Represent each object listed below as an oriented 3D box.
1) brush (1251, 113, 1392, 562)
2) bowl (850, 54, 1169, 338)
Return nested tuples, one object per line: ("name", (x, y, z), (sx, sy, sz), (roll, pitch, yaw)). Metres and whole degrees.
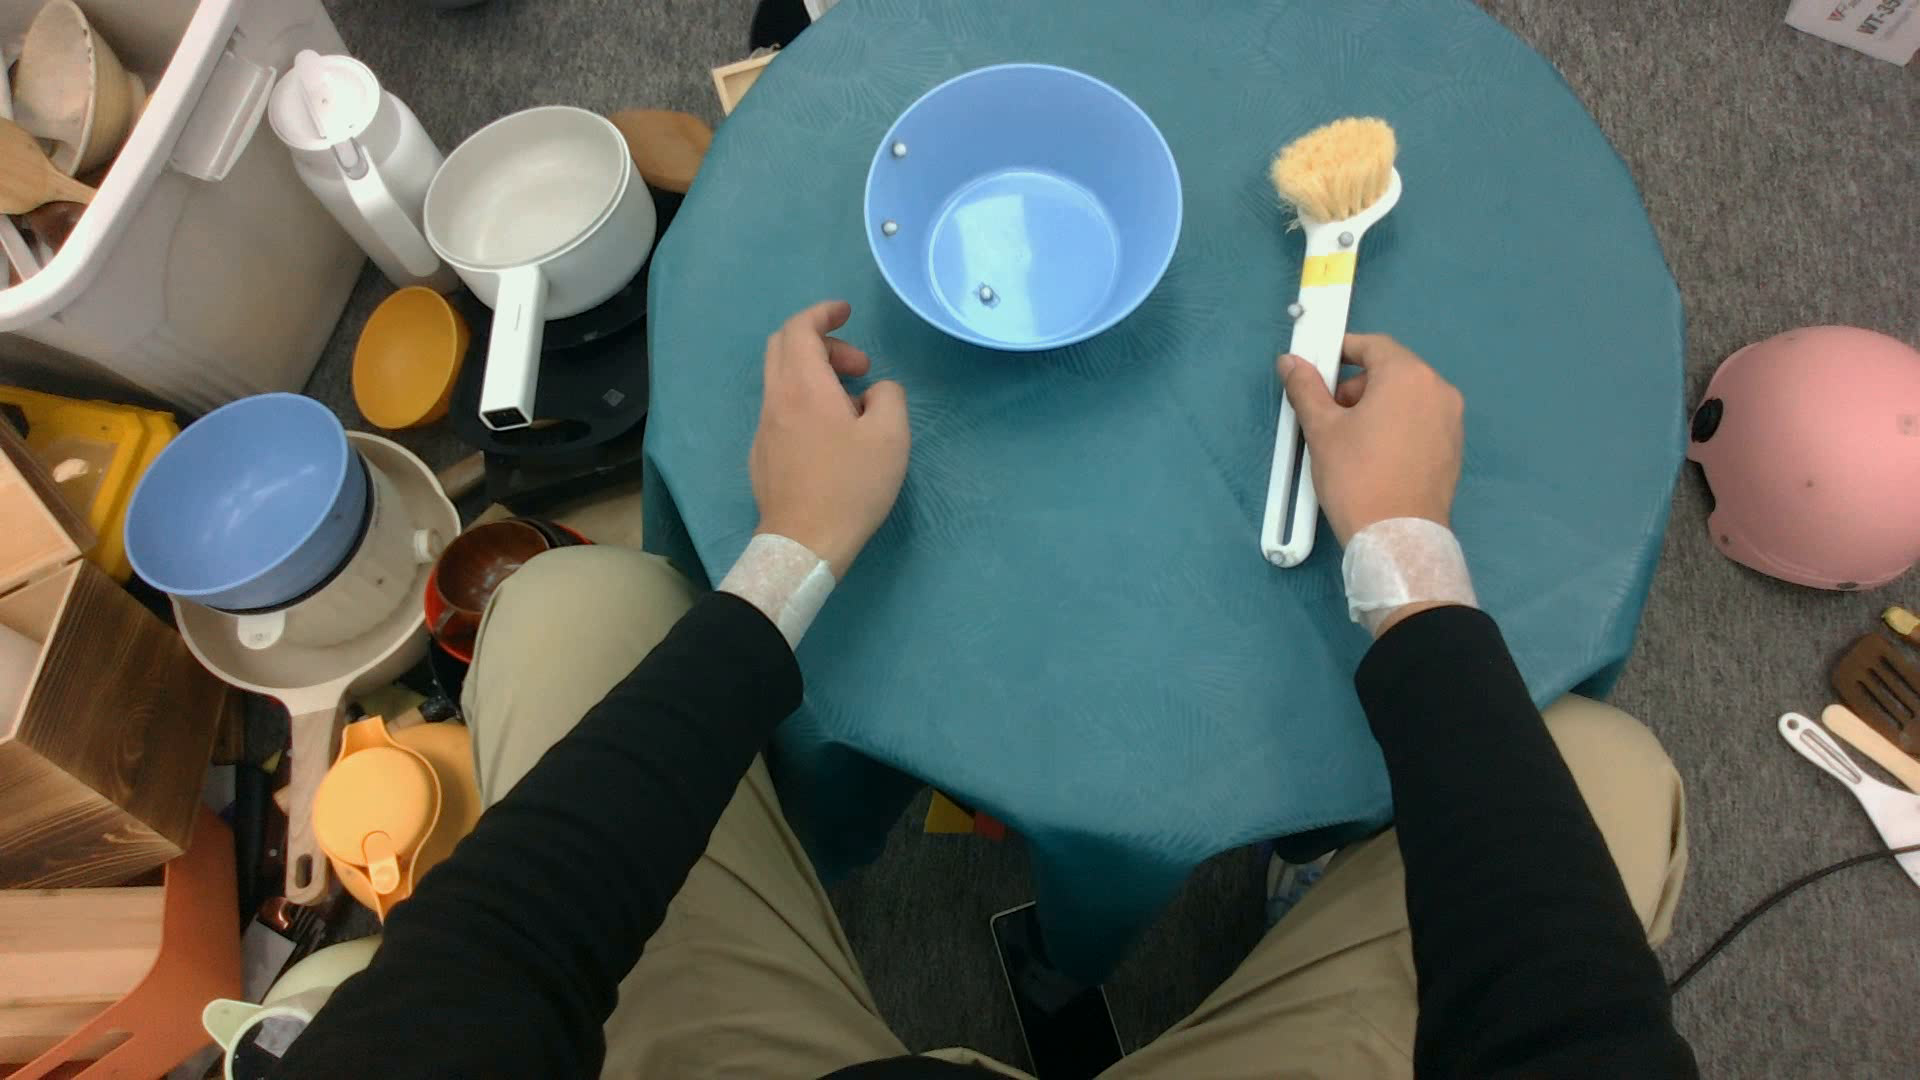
("brush", (0.191, -0.121, 0.771), (0.068, 0.056, 0.267), (2, 71, 41))
("bowl", (0.028, -0.183, 0.787), (0.176, 0.070, 0.176), (0, 73, 1))
